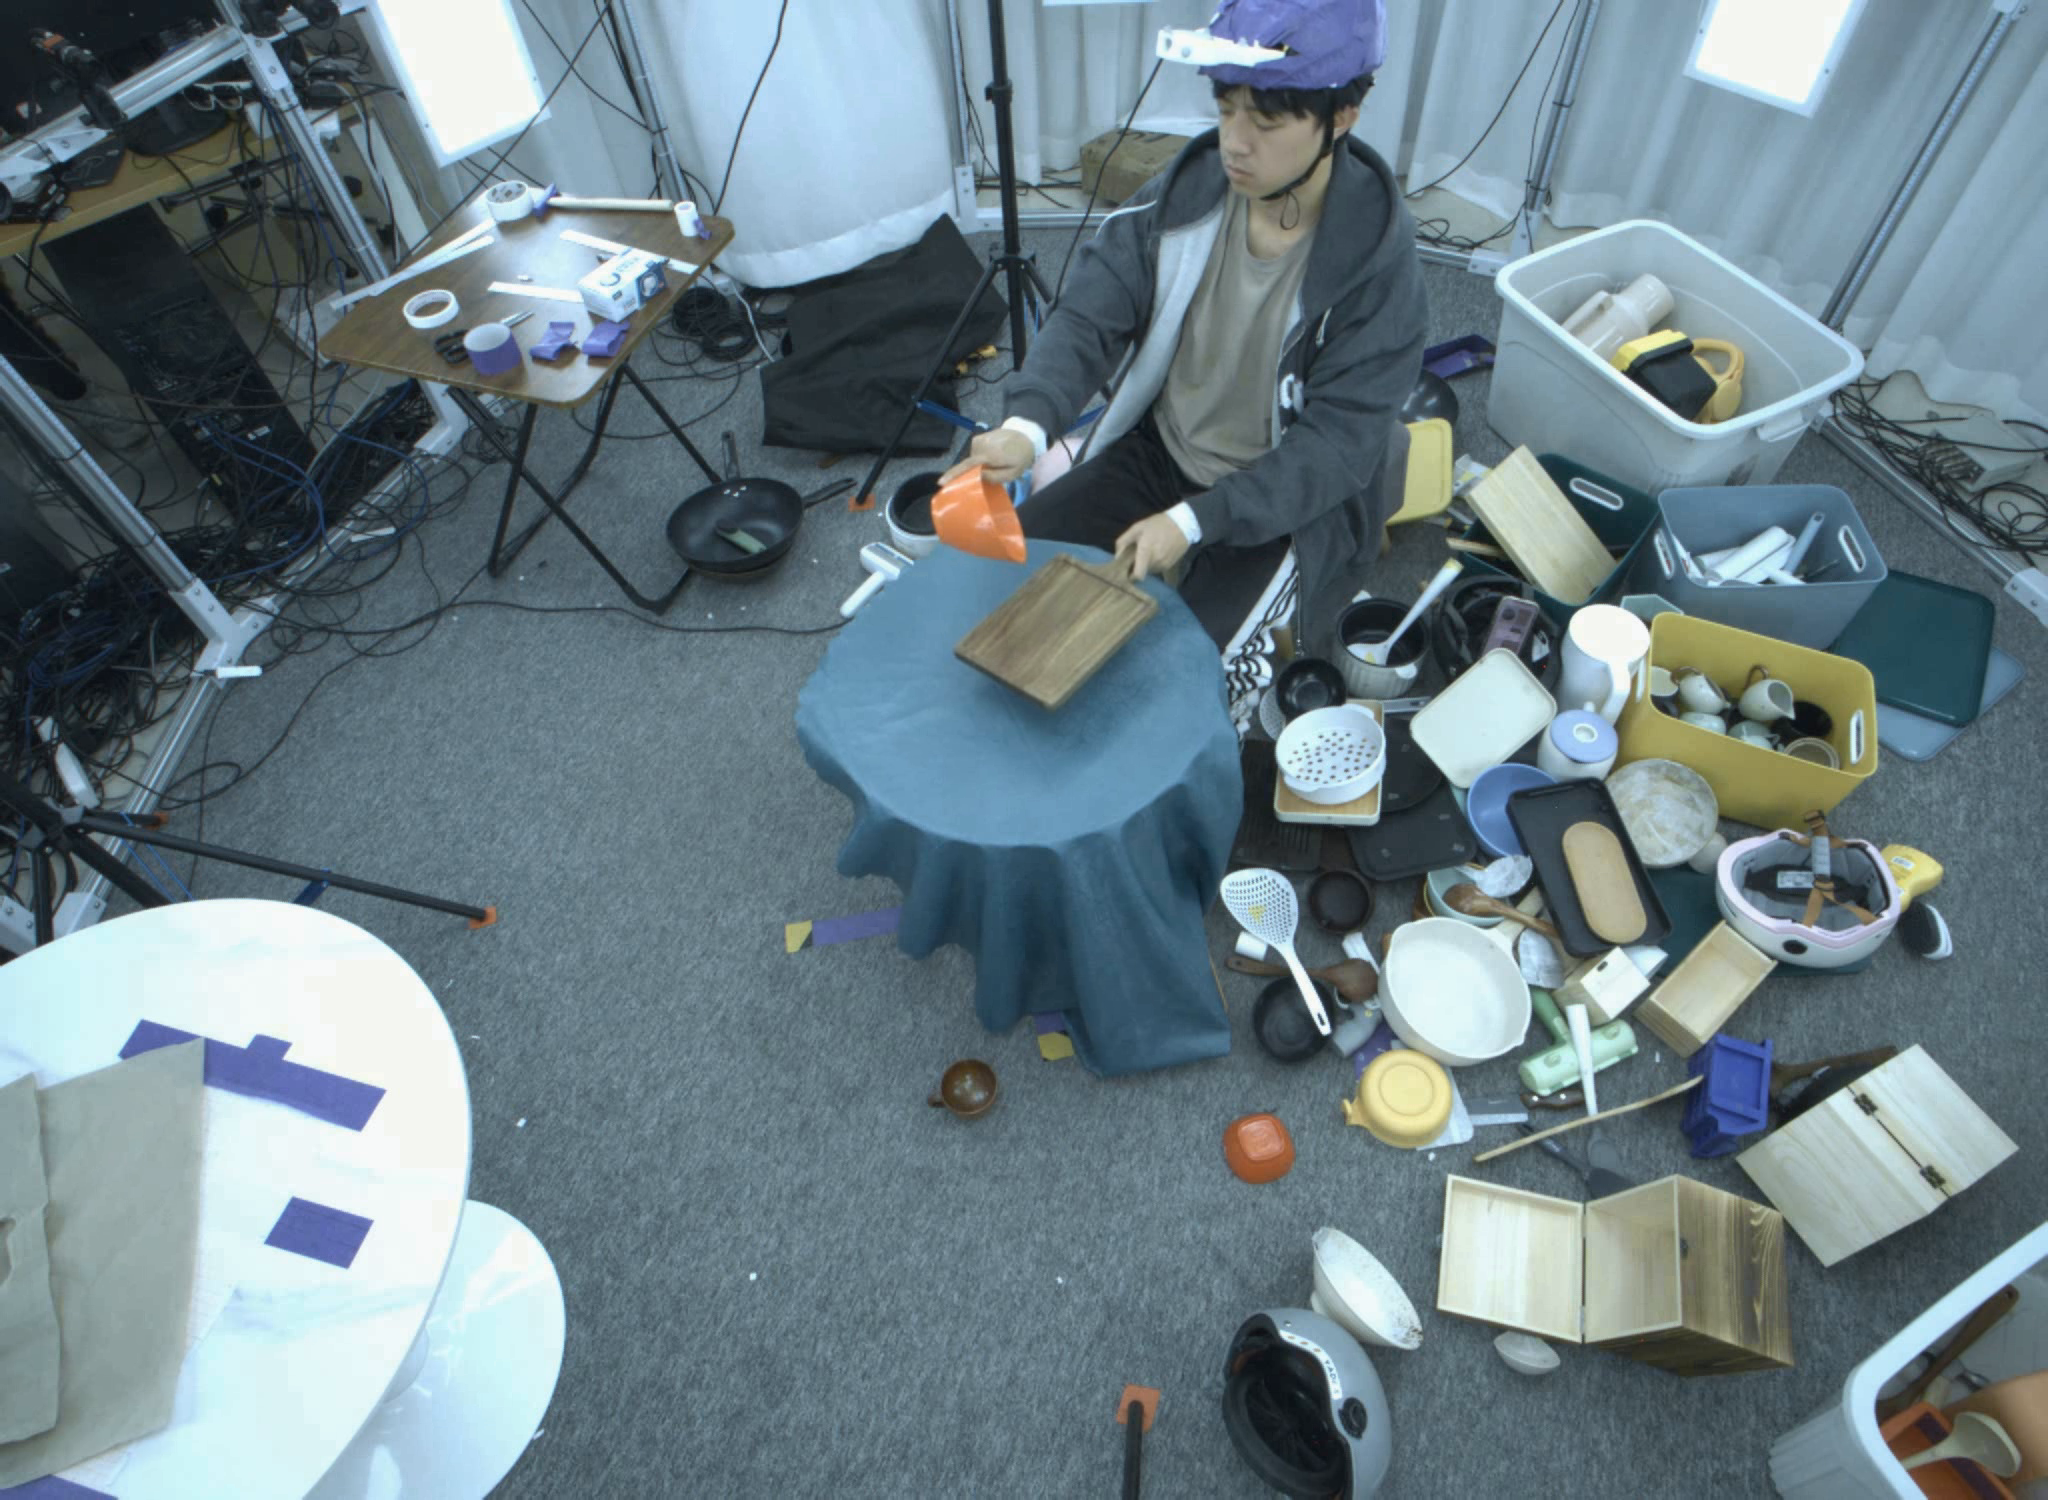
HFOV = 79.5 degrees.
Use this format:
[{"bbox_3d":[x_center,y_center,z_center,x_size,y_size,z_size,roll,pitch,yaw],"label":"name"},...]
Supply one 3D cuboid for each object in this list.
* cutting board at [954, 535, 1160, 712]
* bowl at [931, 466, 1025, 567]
[{"bbox_3d":[0.081,-0.210,1.827,0.197,0.023,0.354,32,62,27],"label":"cutting board"},{"bbox_3d":[-0.069,-0.319,1.709,0.104,0.151,0.146,-10,54,12],"label":"bowl"}]
